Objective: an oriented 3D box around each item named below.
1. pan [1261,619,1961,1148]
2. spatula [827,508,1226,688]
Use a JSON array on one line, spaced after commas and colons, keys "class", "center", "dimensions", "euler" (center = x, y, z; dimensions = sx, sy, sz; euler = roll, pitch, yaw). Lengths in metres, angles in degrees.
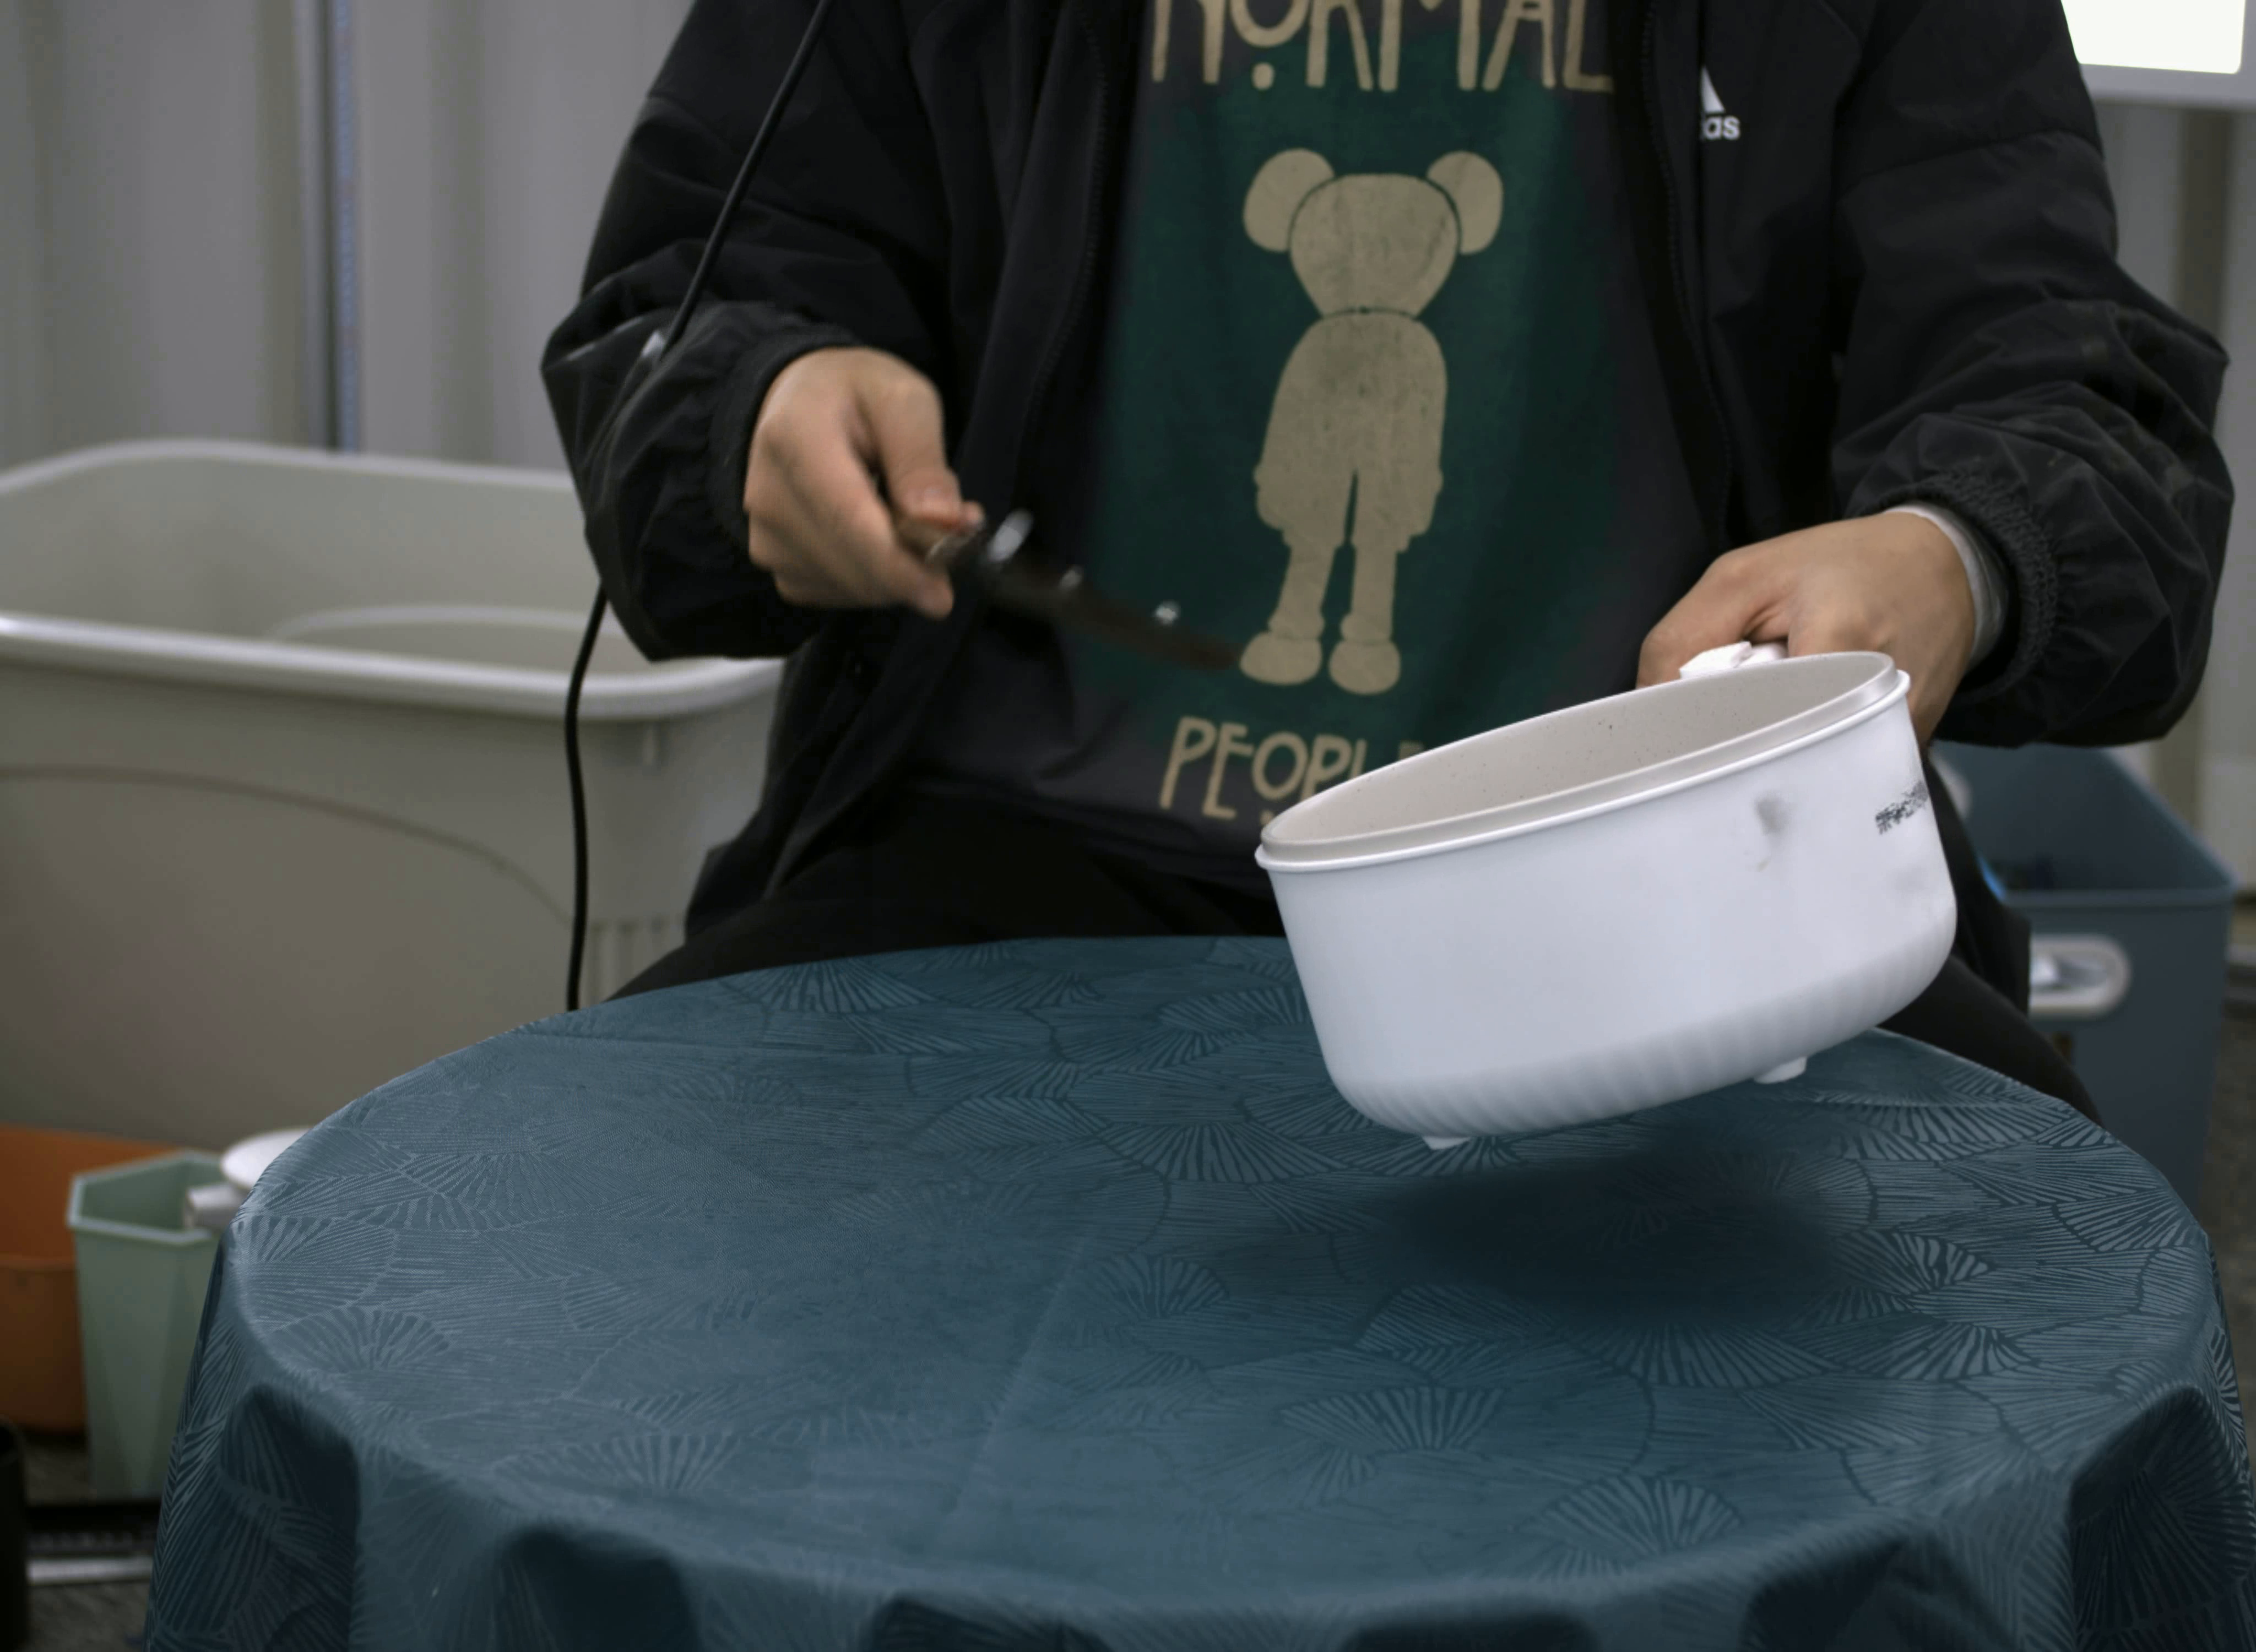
[{"class": "pan", "center": [0.175, 0.010, 1.639], "dimensions": [0.200, 0.102, 0.355], "euler": [-14, 5, 23]}, {"class": "spatula", "center": [-0.054, -0.081, 1.720], "dimensions": [0.096, 0.016, 0.383], "euler": [21, 3, -16]}]
